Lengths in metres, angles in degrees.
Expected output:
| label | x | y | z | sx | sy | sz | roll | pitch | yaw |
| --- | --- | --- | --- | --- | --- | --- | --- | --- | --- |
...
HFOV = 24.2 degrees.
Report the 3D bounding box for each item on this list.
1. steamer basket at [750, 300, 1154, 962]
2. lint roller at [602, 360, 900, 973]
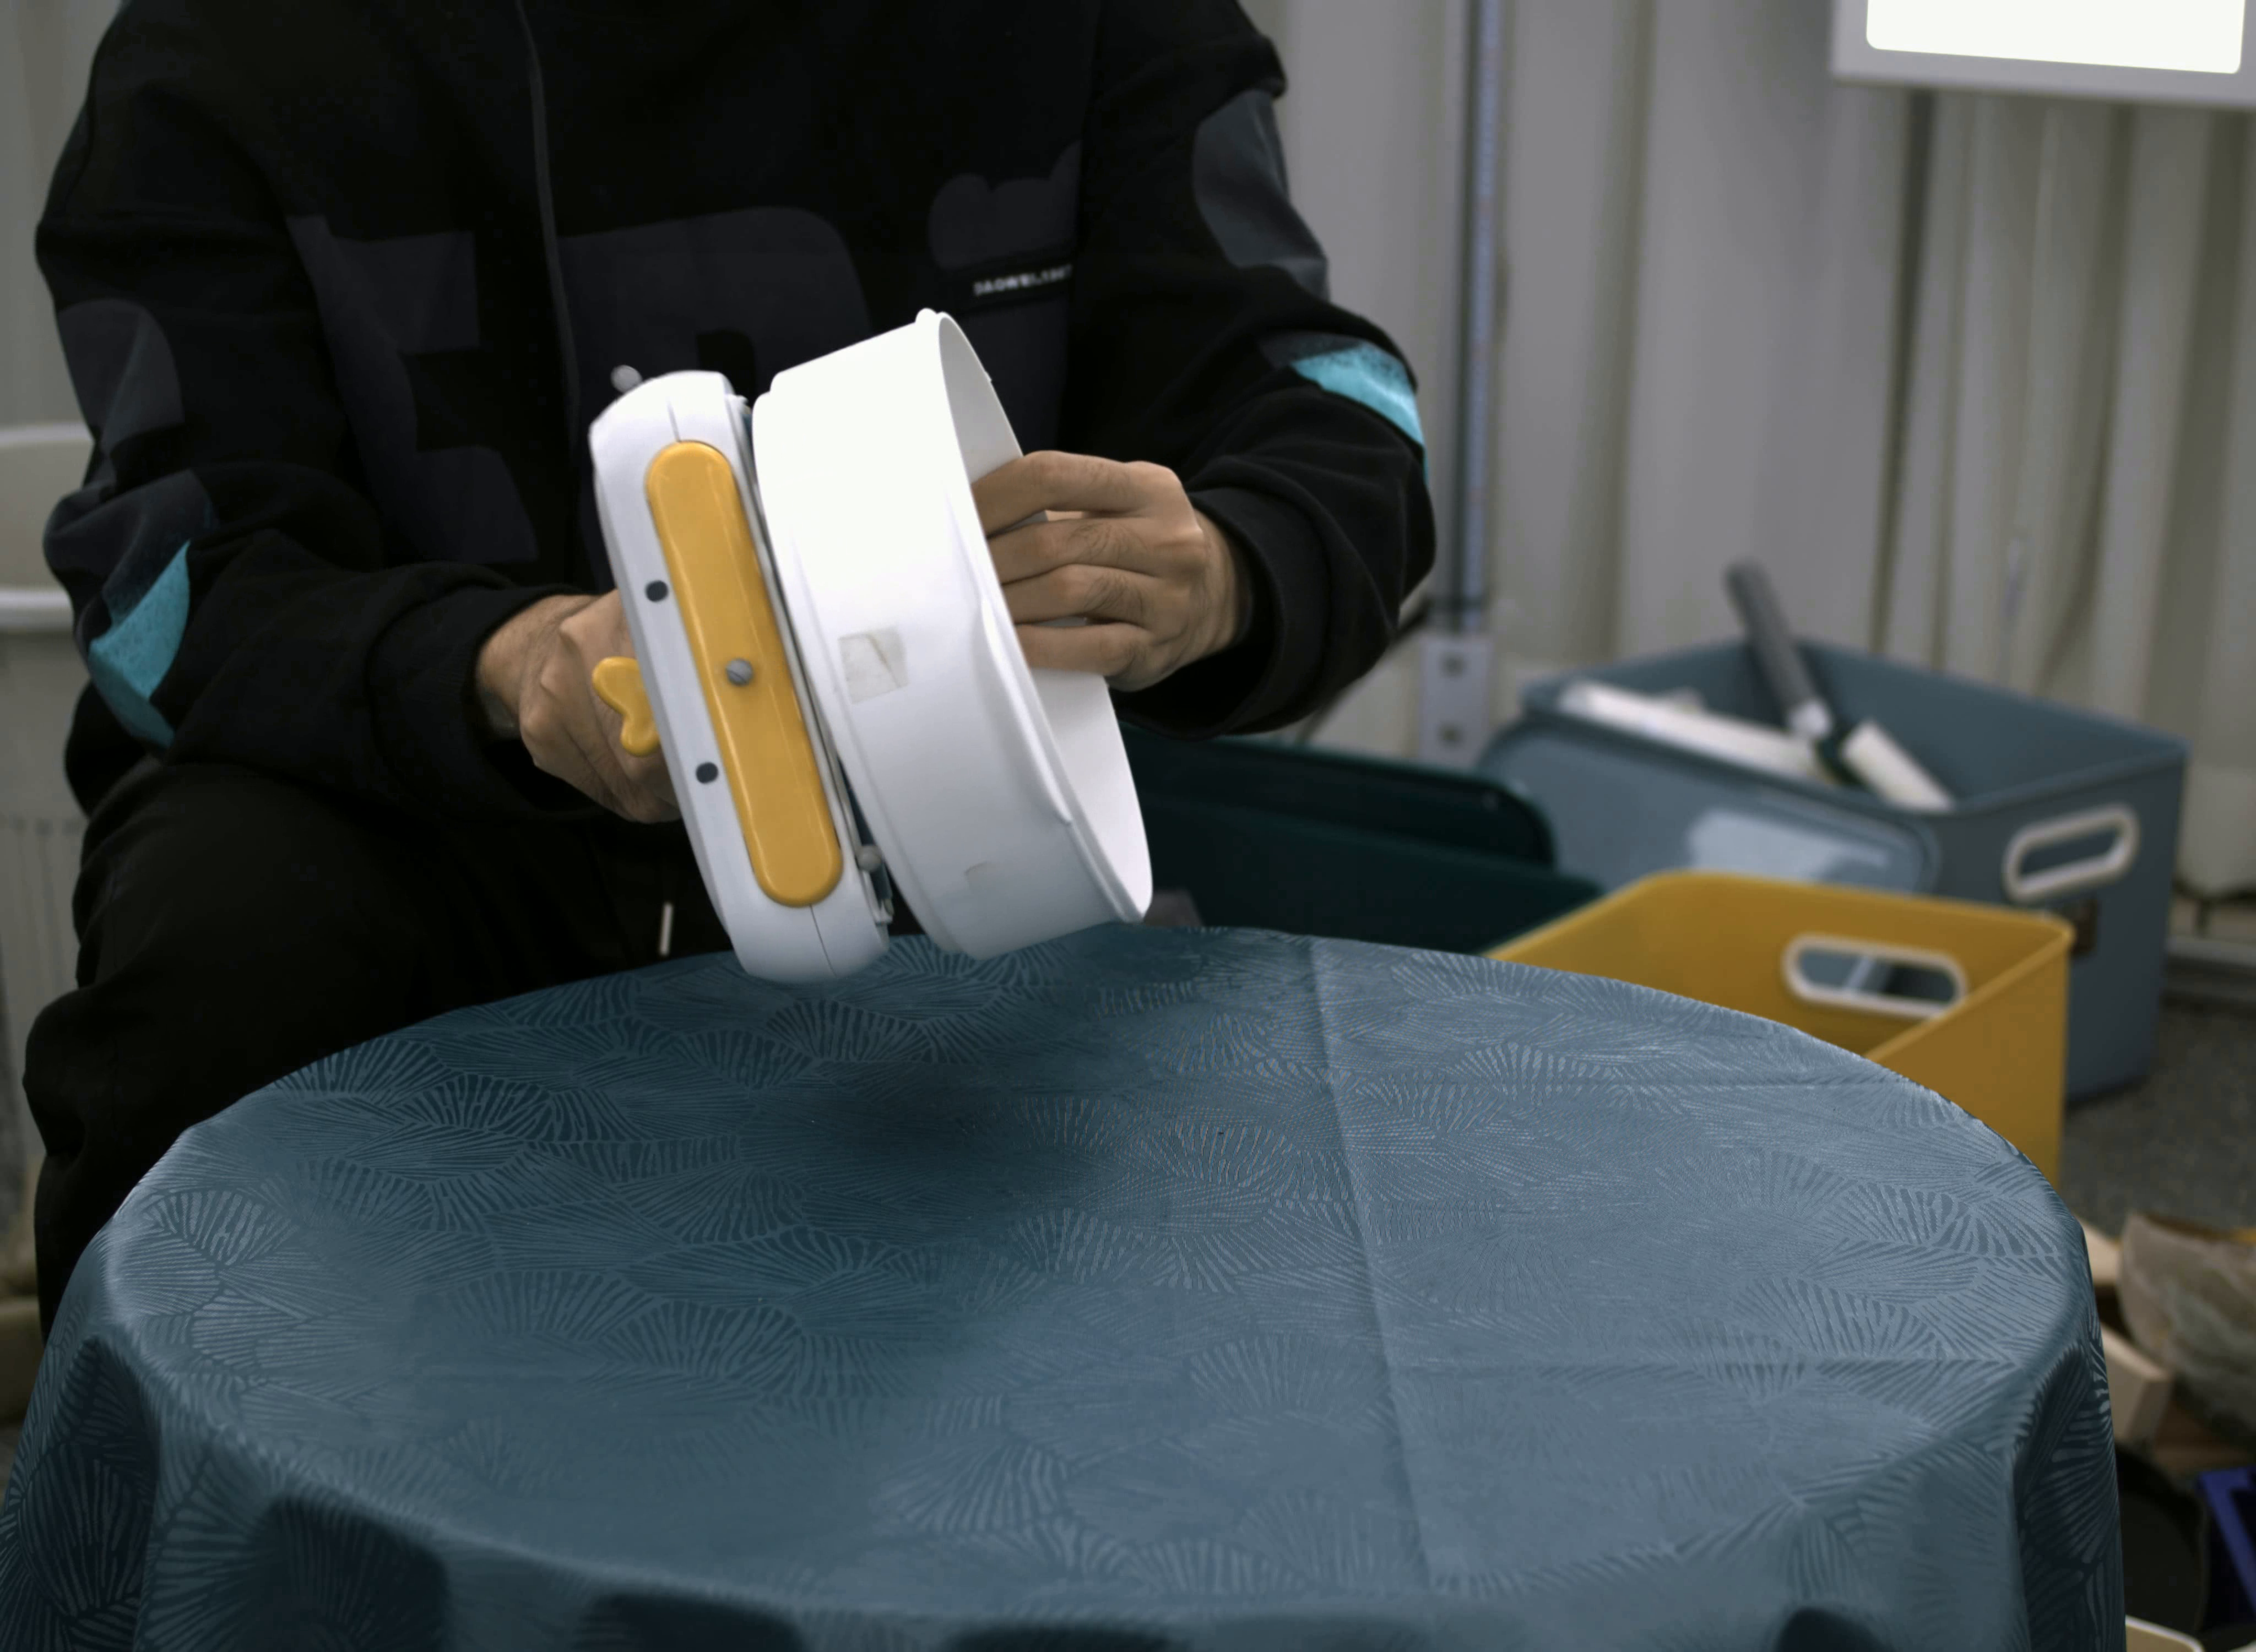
| label | x | y | z | sx | sy | sz | roll | pitch | yaw |
| --- | --- | --- | --- | --- | --- | --- | --- | --- | --- |
| steamer basket | -0.055 | -0.057 | 1.622 | 0.069 | 0.204 | 0.229 | -19 | 19 | 6 |
| lint roller | -0.130 | -0.040 | 1.681 | 0.074 | 0.193 | 0.192 | -19 | -2 | -10 |
